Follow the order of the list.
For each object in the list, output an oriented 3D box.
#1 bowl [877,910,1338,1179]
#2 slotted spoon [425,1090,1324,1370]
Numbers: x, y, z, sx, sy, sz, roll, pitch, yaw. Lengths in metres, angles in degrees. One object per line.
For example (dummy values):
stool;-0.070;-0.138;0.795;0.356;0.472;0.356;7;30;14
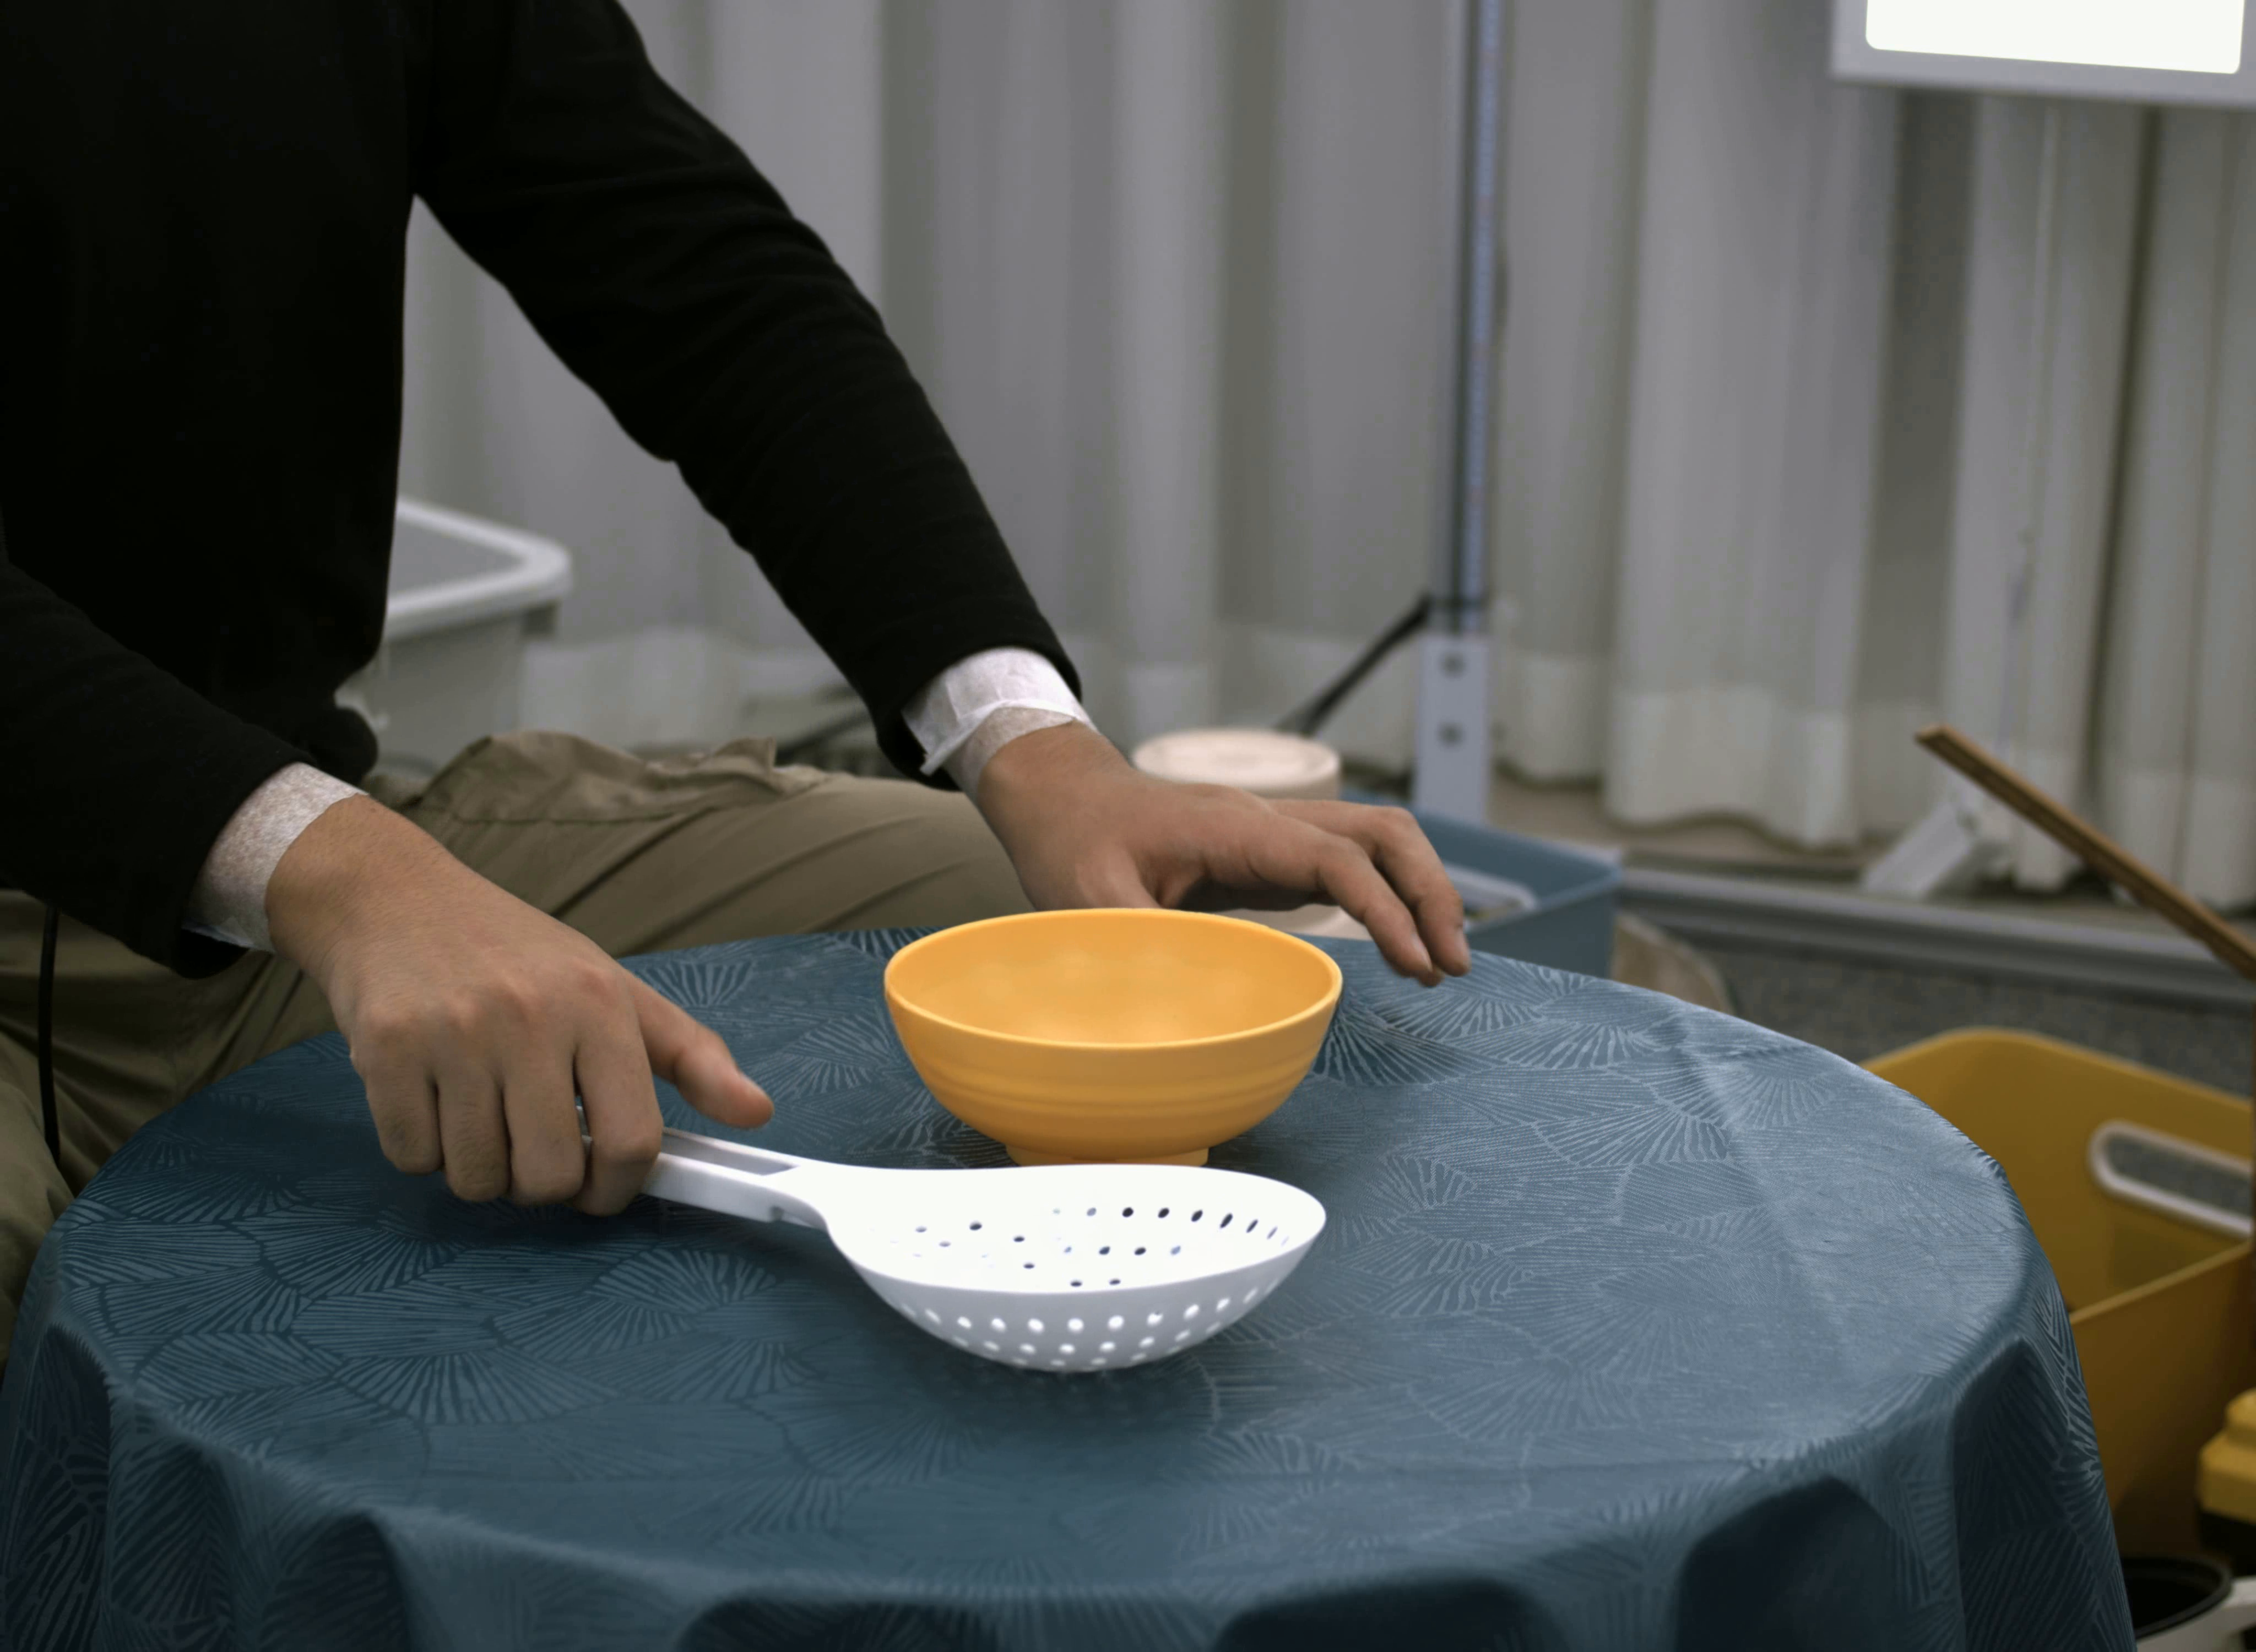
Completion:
bowl;-0.007;0.075;1.651;0.145;0.060;0.144;3;16;0
slotted spoon;-0.090;0.108;1.546;0.345;0.046;0.137;13;19;42
